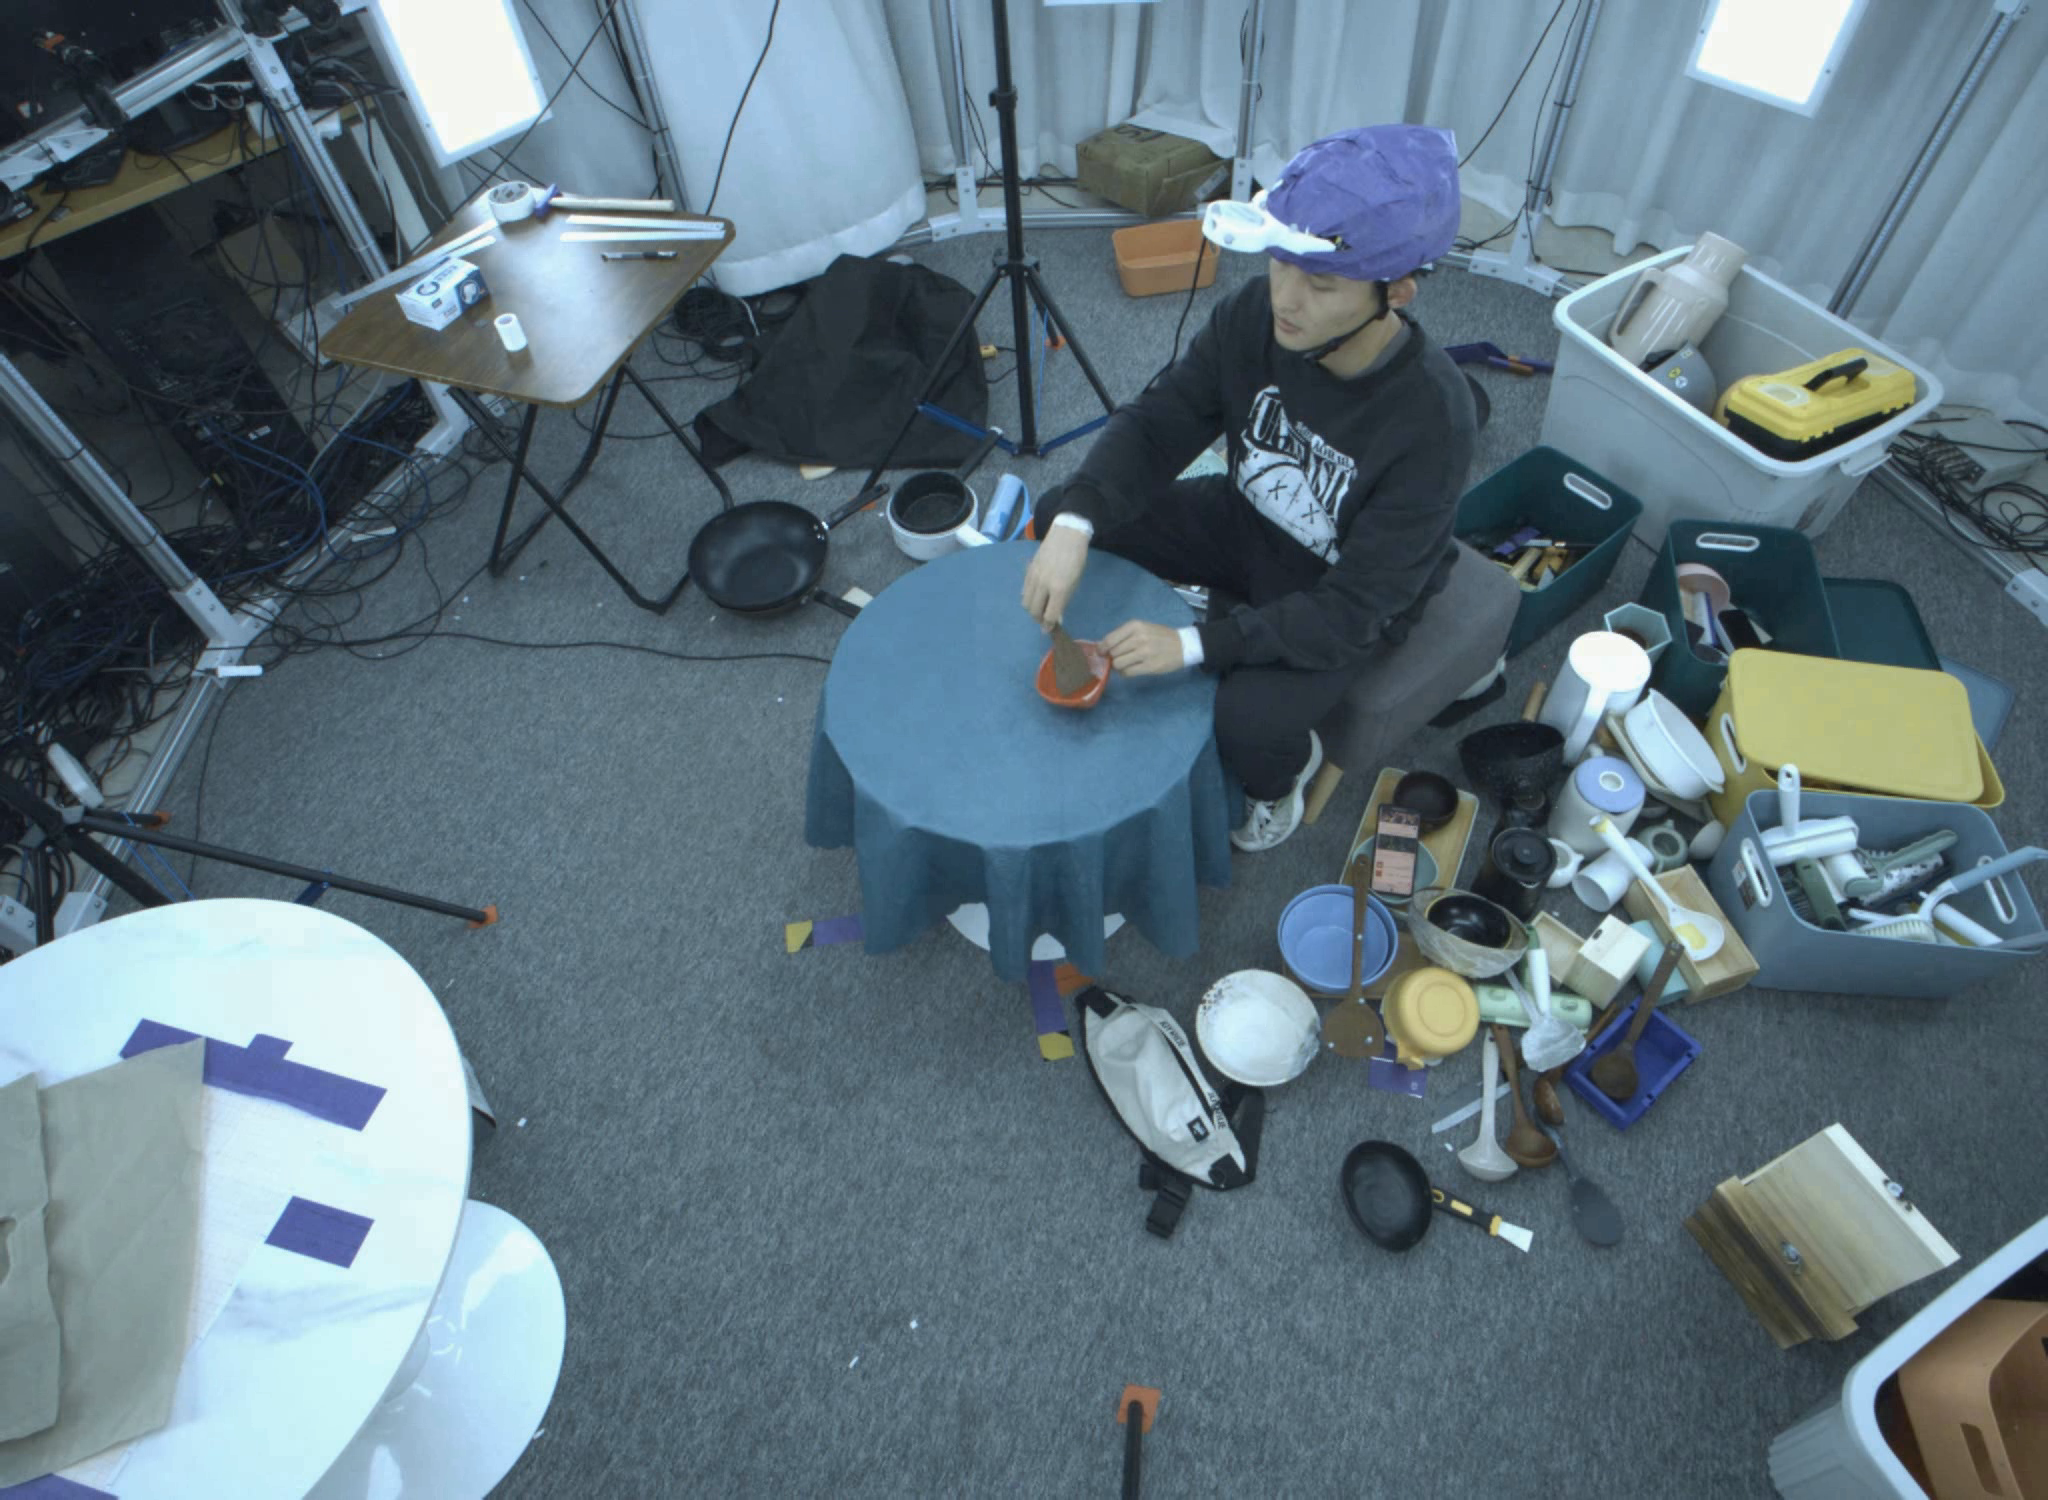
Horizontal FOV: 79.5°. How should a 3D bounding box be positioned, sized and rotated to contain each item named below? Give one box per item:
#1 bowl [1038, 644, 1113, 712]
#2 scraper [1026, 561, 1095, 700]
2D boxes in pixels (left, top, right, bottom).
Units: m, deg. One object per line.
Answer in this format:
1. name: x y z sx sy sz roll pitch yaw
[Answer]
1. bowl: 0.083 -0.099 1.823 0.117 0.052 0.118 -12 54 18
2. scraper: 0.046 -0.178 1.797 0.011 0.075 0.210 -13 79 -46
